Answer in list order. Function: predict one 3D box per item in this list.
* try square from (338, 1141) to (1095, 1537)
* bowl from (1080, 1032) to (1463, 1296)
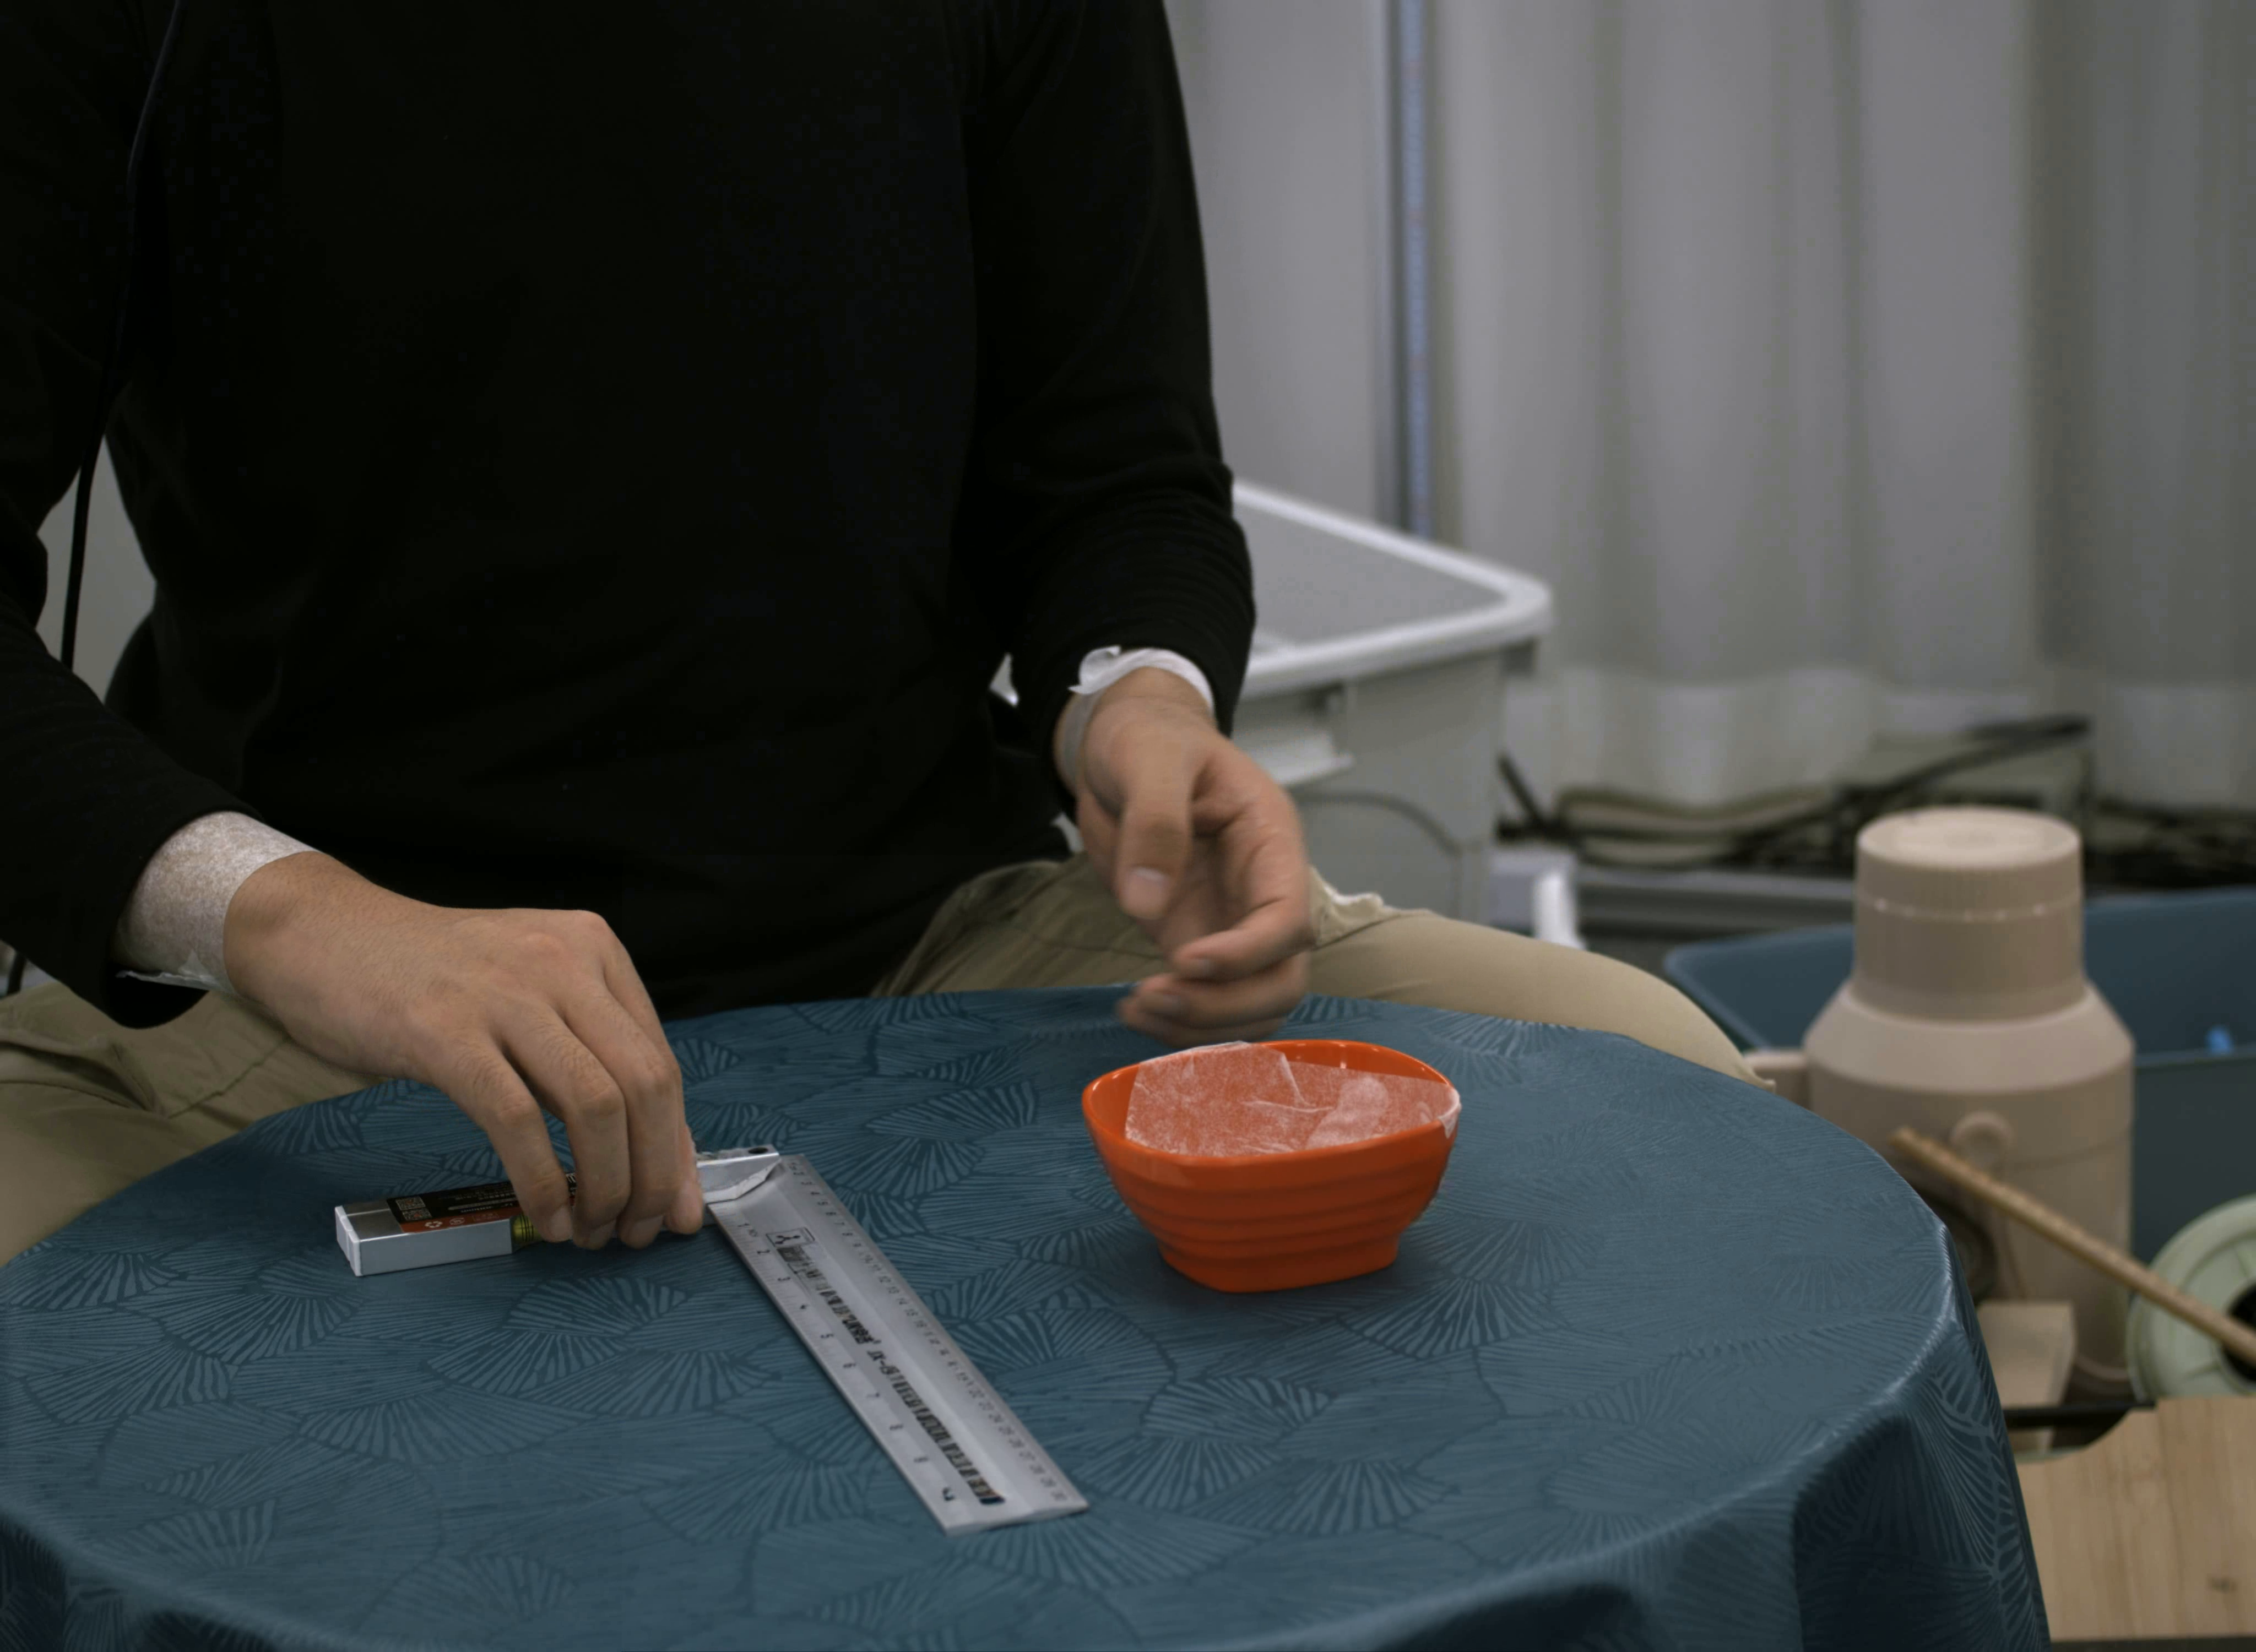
[{"bbox_3d":[-0.127,0.154,1.582,0.151,0.016,0.315,-9,17,-16],"label":"try square"},{"bbox_3d":[0.044,0.104,1.644,0.118,0.051,0.120,-4,16,1],"label":"bowl"}]
